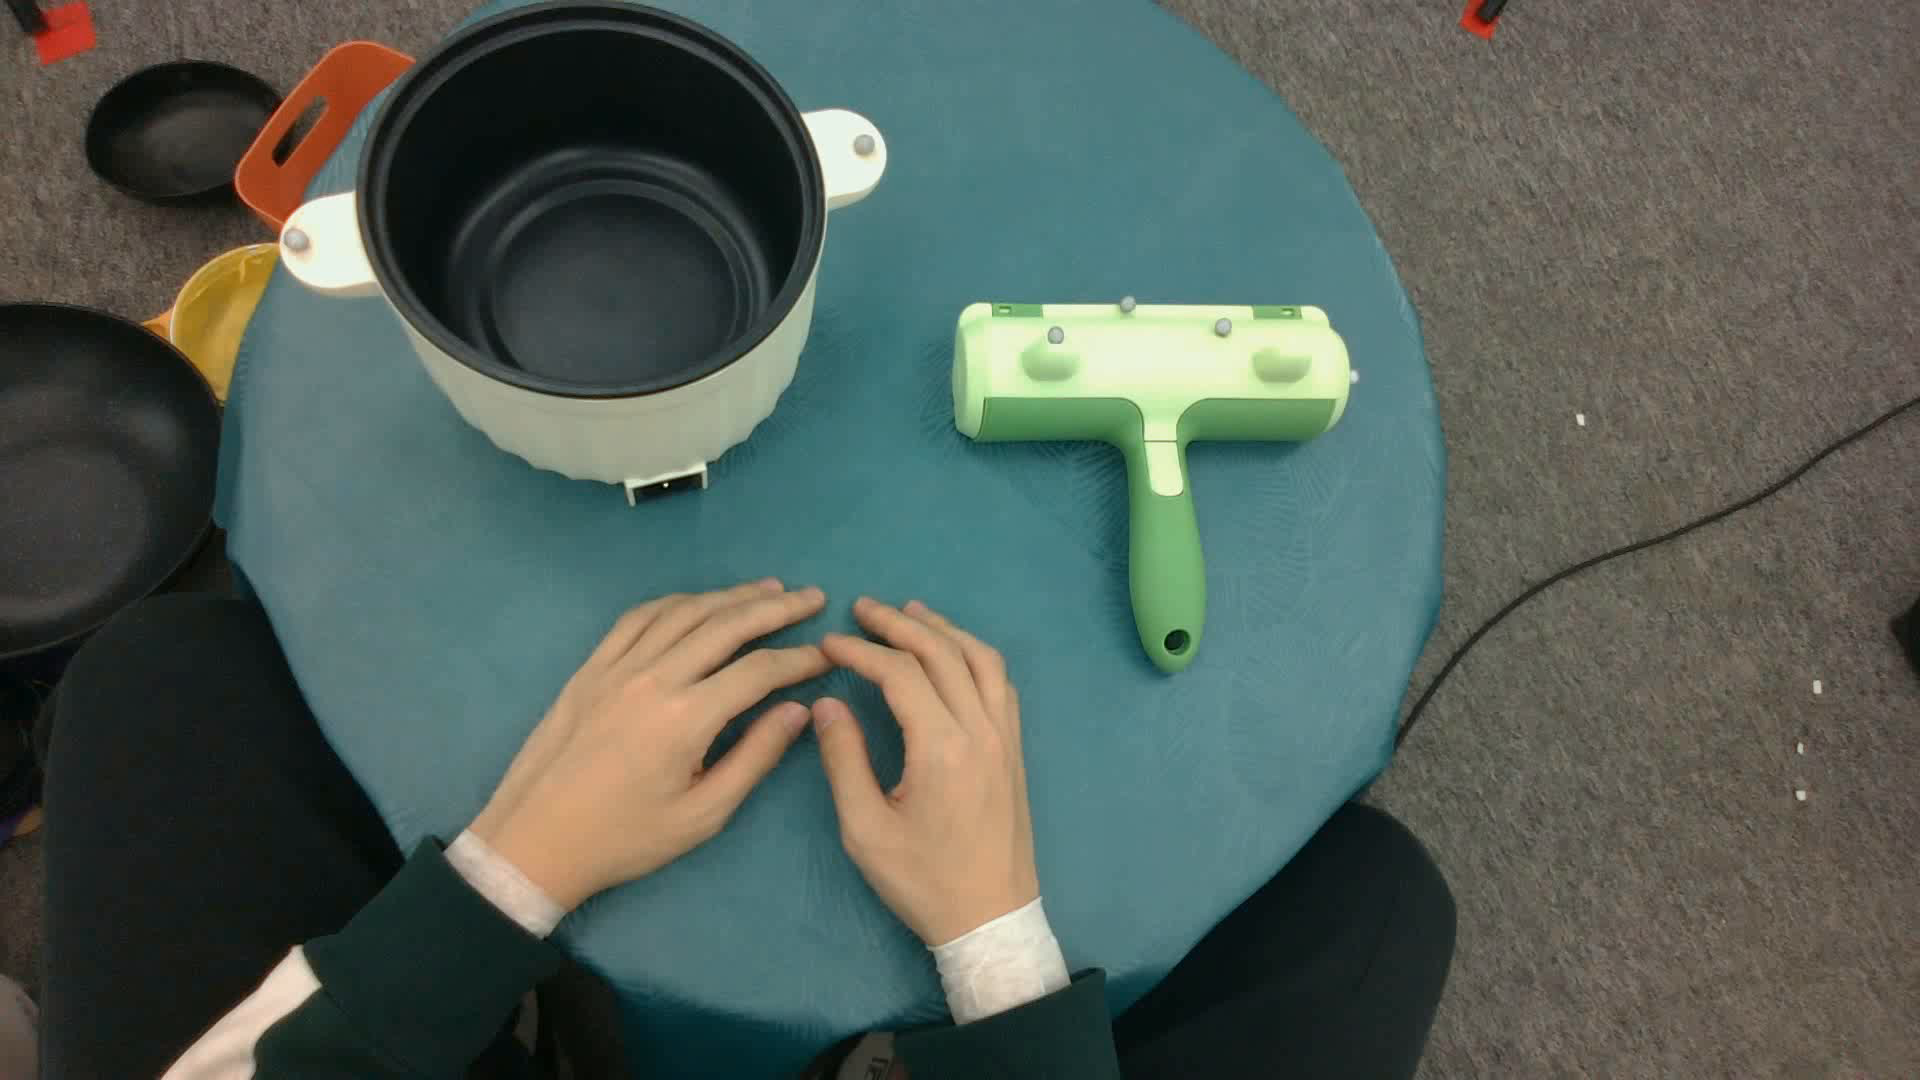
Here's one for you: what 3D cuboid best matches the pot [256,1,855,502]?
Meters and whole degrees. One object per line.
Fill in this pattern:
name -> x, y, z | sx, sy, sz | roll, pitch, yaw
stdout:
pot -> -0.170, -0.125, 0.613 | 0.241, 0.142, 0.191 | -17, 78, -16

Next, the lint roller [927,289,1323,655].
lint roller -> 0.090, -0.042, 0.665 | 0.199, 0.082, 0.184 | -2, 67, -11
